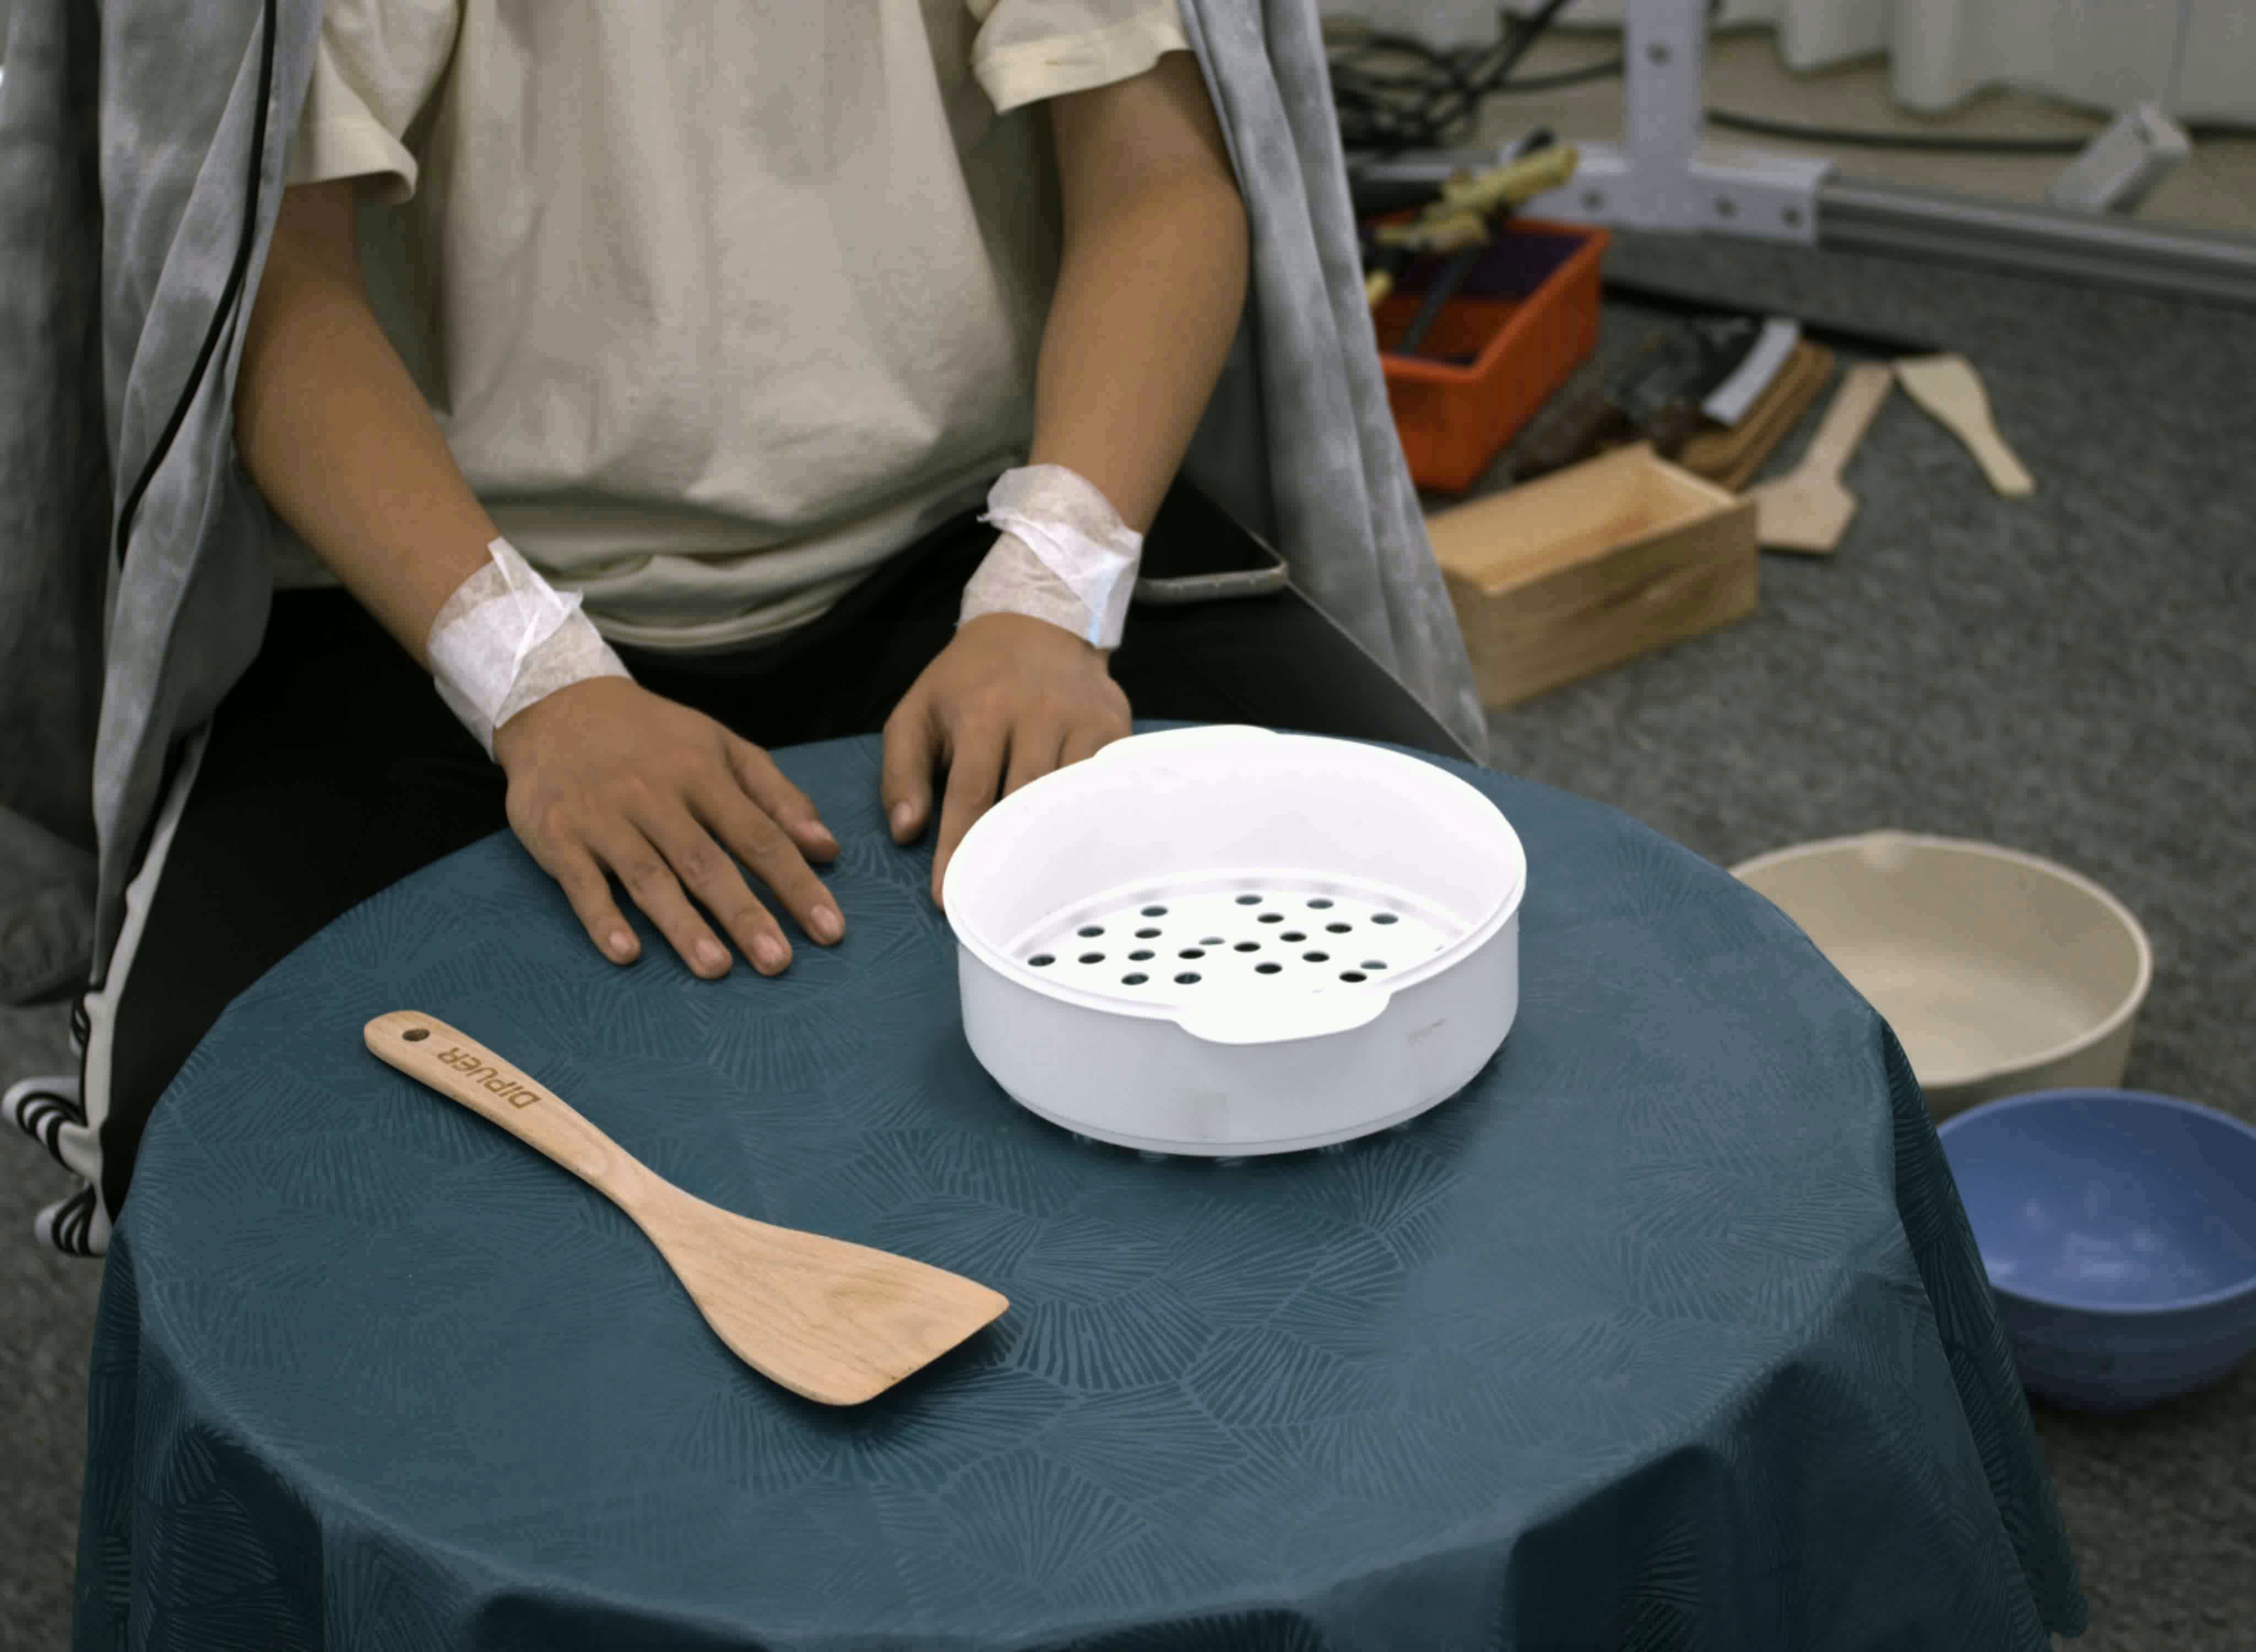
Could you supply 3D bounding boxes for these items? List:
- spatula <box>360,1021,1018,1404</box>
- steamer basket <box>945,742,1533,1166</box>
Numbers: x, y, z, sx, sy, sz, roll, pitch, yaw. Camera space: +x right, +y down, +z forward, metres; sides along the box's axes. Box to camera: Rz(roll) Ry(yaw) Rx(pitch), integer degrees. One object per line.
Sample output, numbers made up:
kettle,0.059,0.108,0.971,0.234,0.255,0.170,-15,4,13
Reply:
spatula,-0.158,0.120,1.859,0.081,0.016,0.327,-22,32,-34
steamer basket,0.039,0.045,1.934,0.201,0.068,0.233,-5,26,-7
